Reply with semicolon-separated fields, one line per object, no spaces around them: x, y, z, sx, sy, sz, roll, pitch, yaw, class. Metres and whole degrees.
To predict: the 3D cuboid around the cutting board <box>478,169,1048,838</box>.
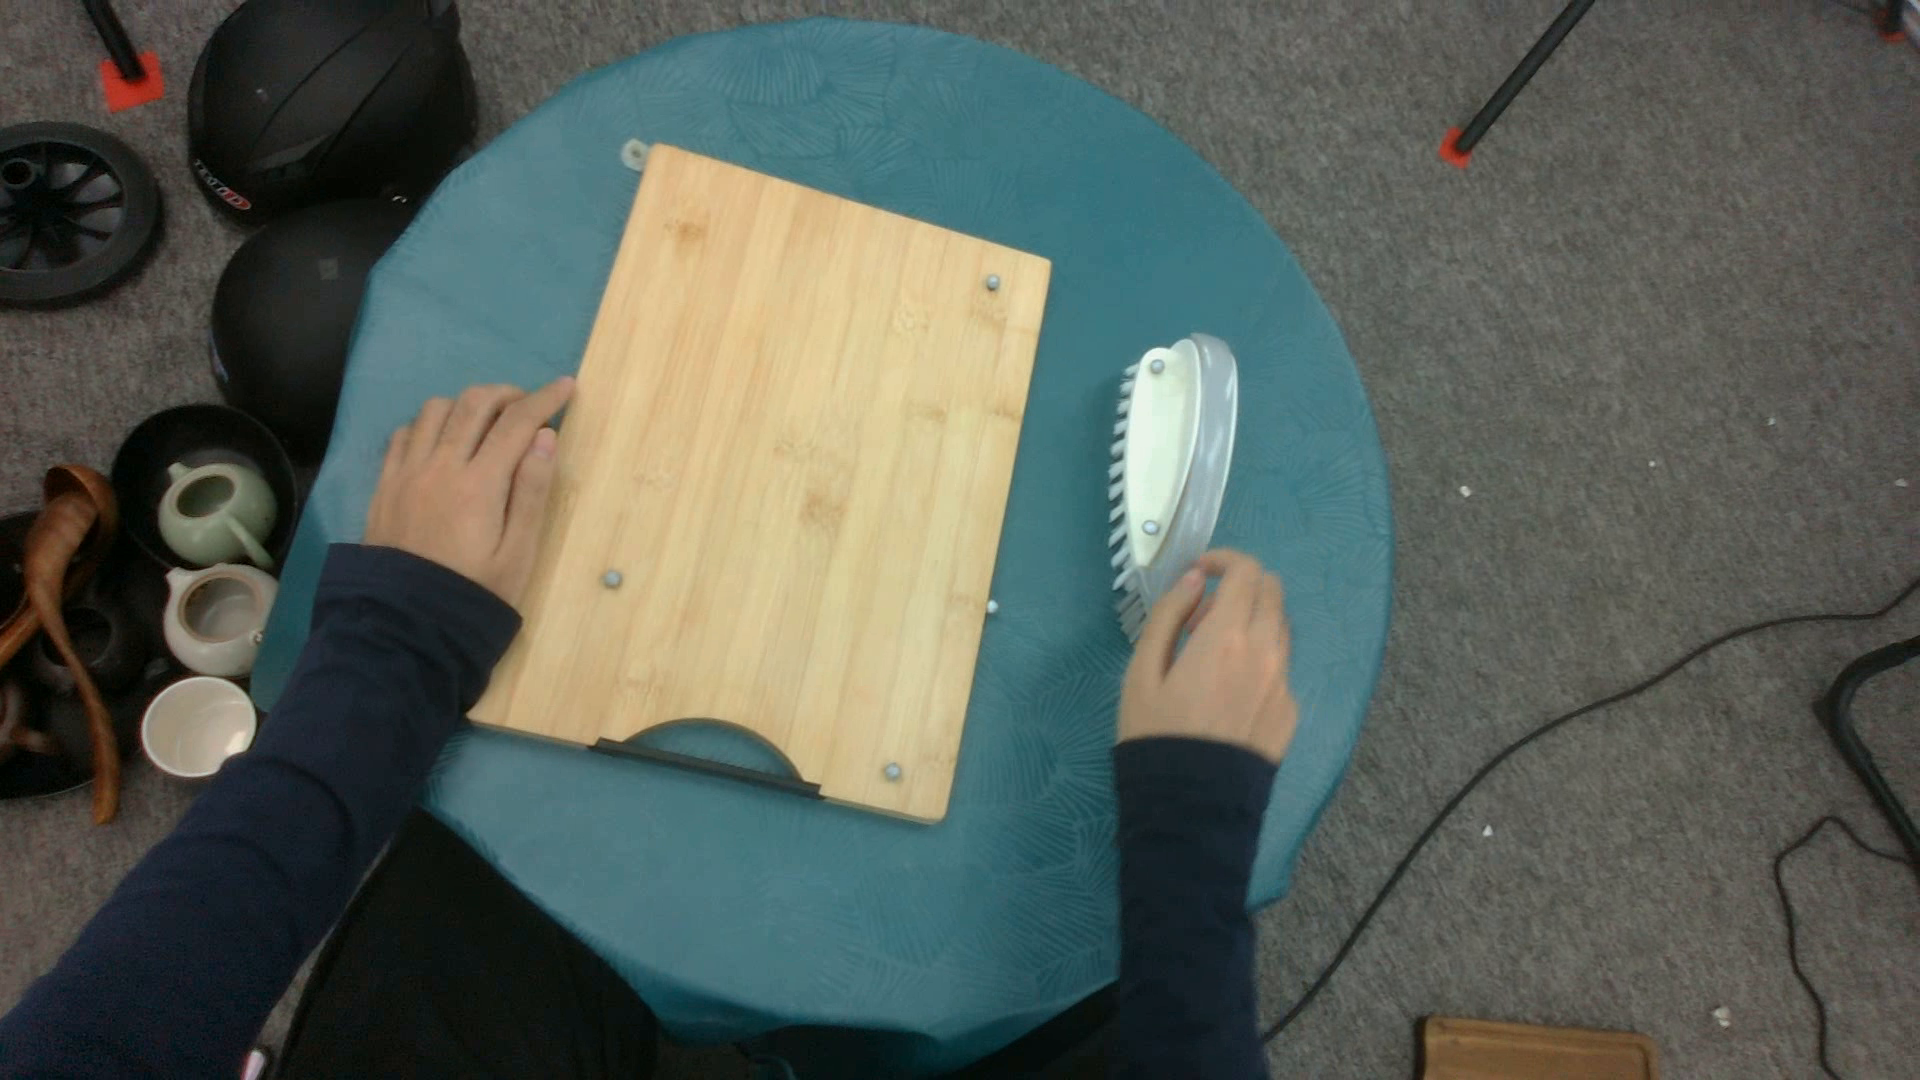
-0.093;-0.030;0.760;0.251;0.023;0.350;12;68;-8;cutting board

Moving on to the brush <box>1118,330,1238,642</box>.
0.127;-0.036;0.773;0.061;0.094;0.176;11;70;-9;brush
